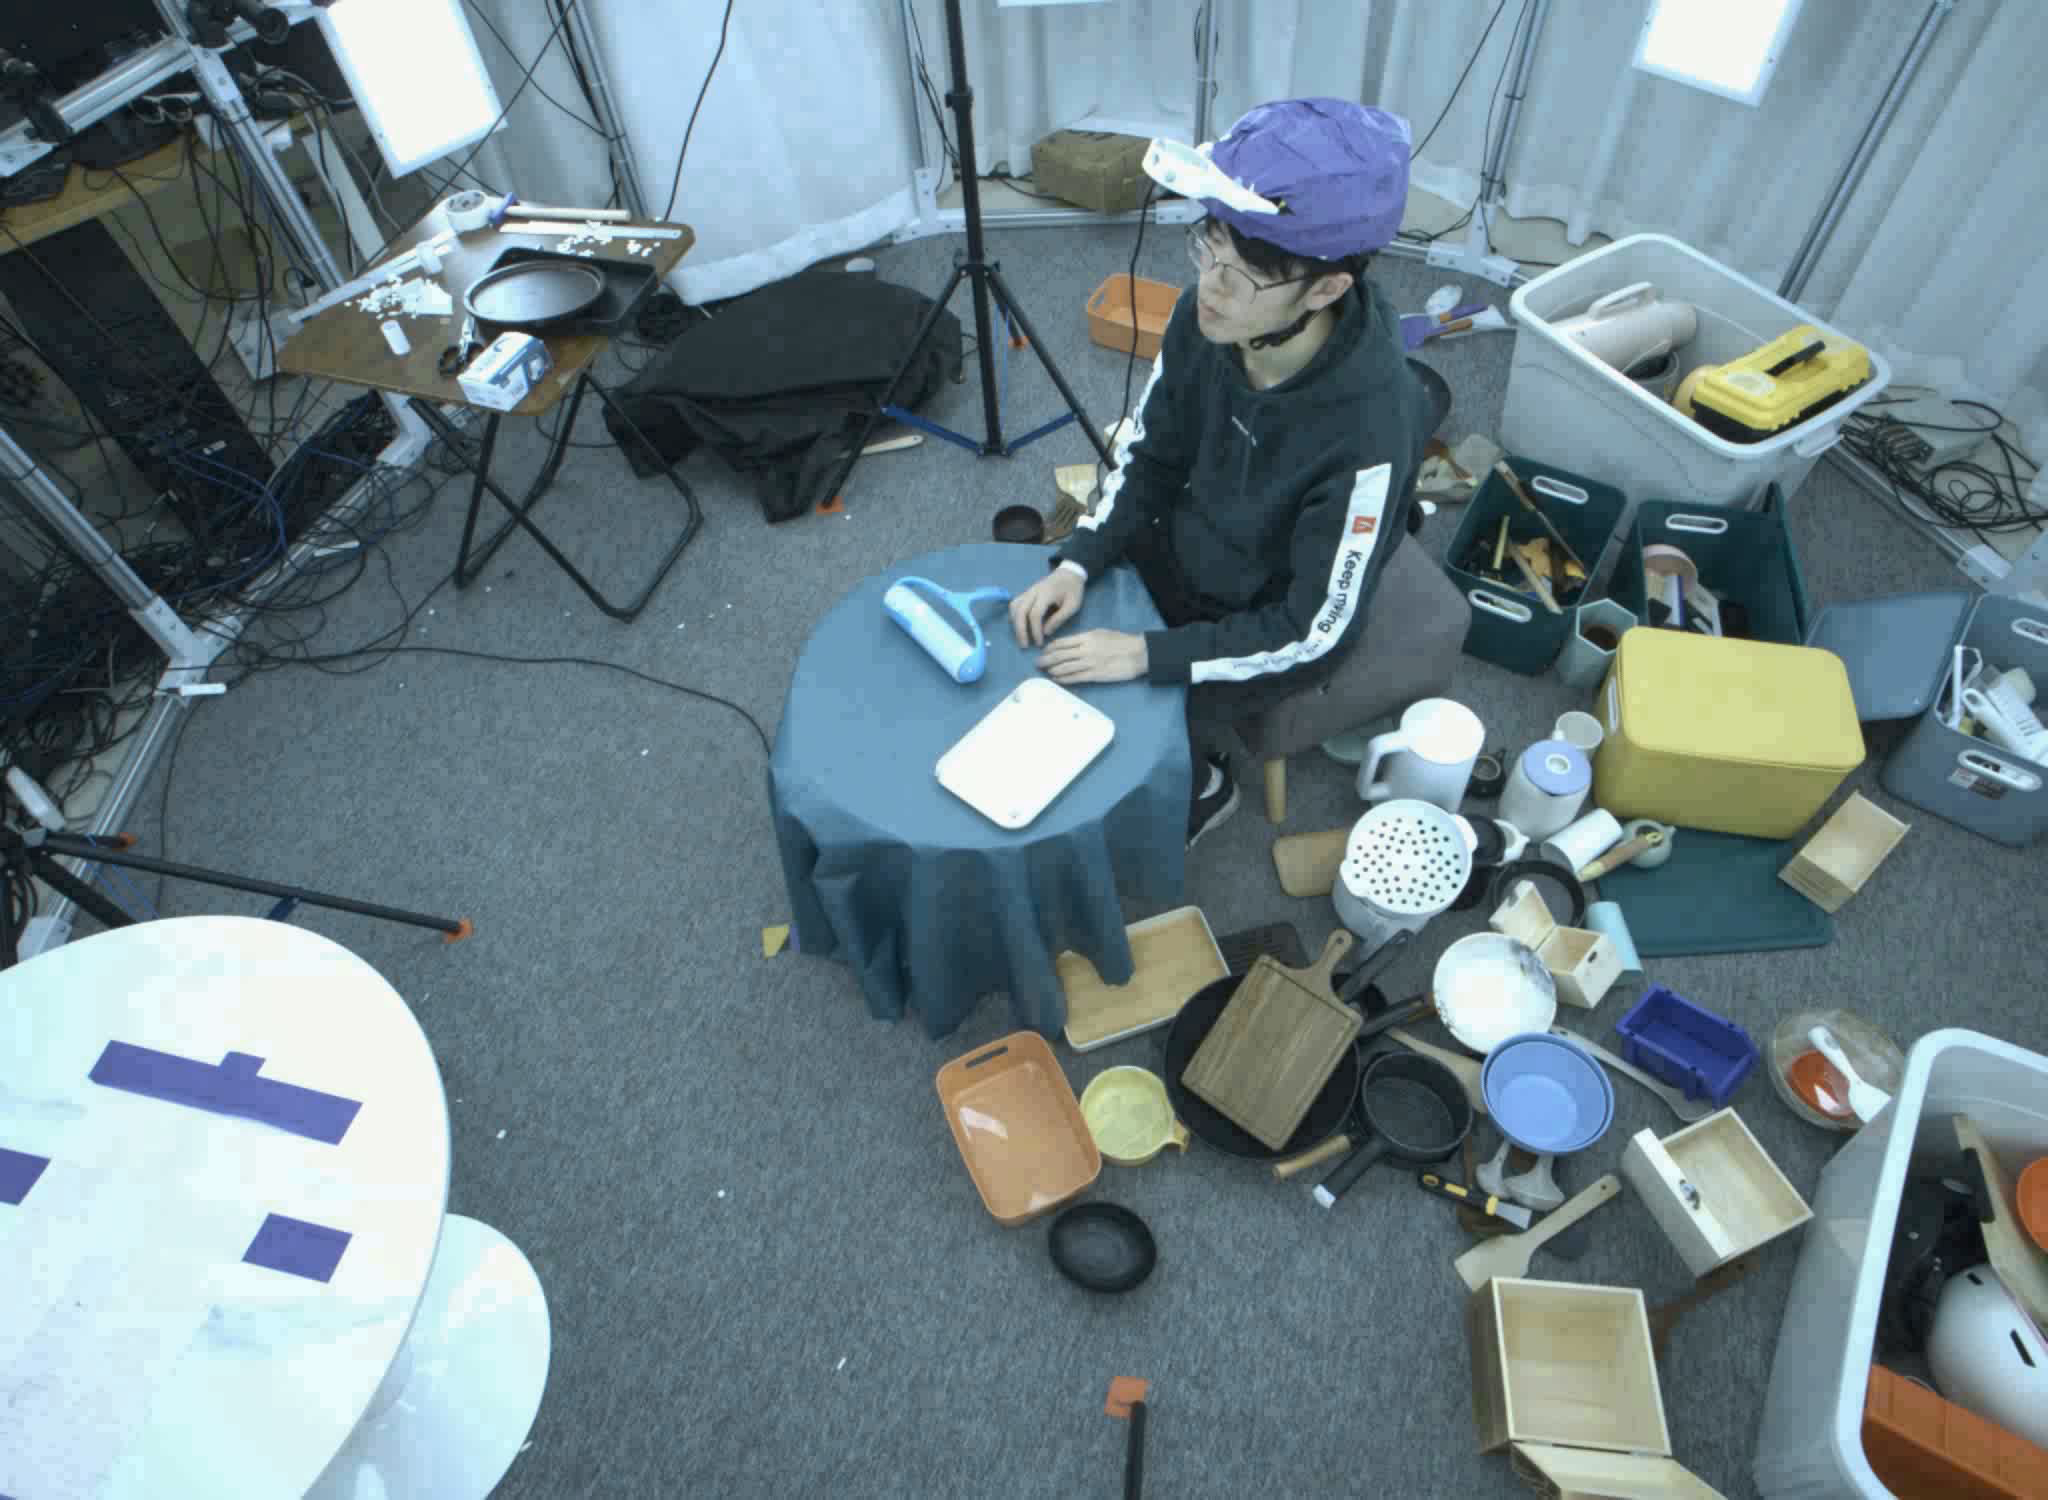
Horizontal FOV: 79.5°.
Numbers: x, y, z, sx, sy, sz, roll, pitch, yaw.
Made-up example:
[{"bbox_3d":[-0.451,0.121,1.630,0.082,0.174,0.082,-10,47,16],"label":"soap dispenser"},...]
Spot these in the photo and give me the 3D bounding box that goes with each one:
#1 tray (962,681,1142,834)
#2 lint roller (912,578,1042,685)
[{"bbox_3d":[0.041,0.009,1.764,0.168,0.017,0.241,36,63,23],"label":"tray"},{"bbox_3d":[-0.050,-0.211,1.899,0.181,0.069,0.224,-36,59,-20],"label":"lint roller"}]
